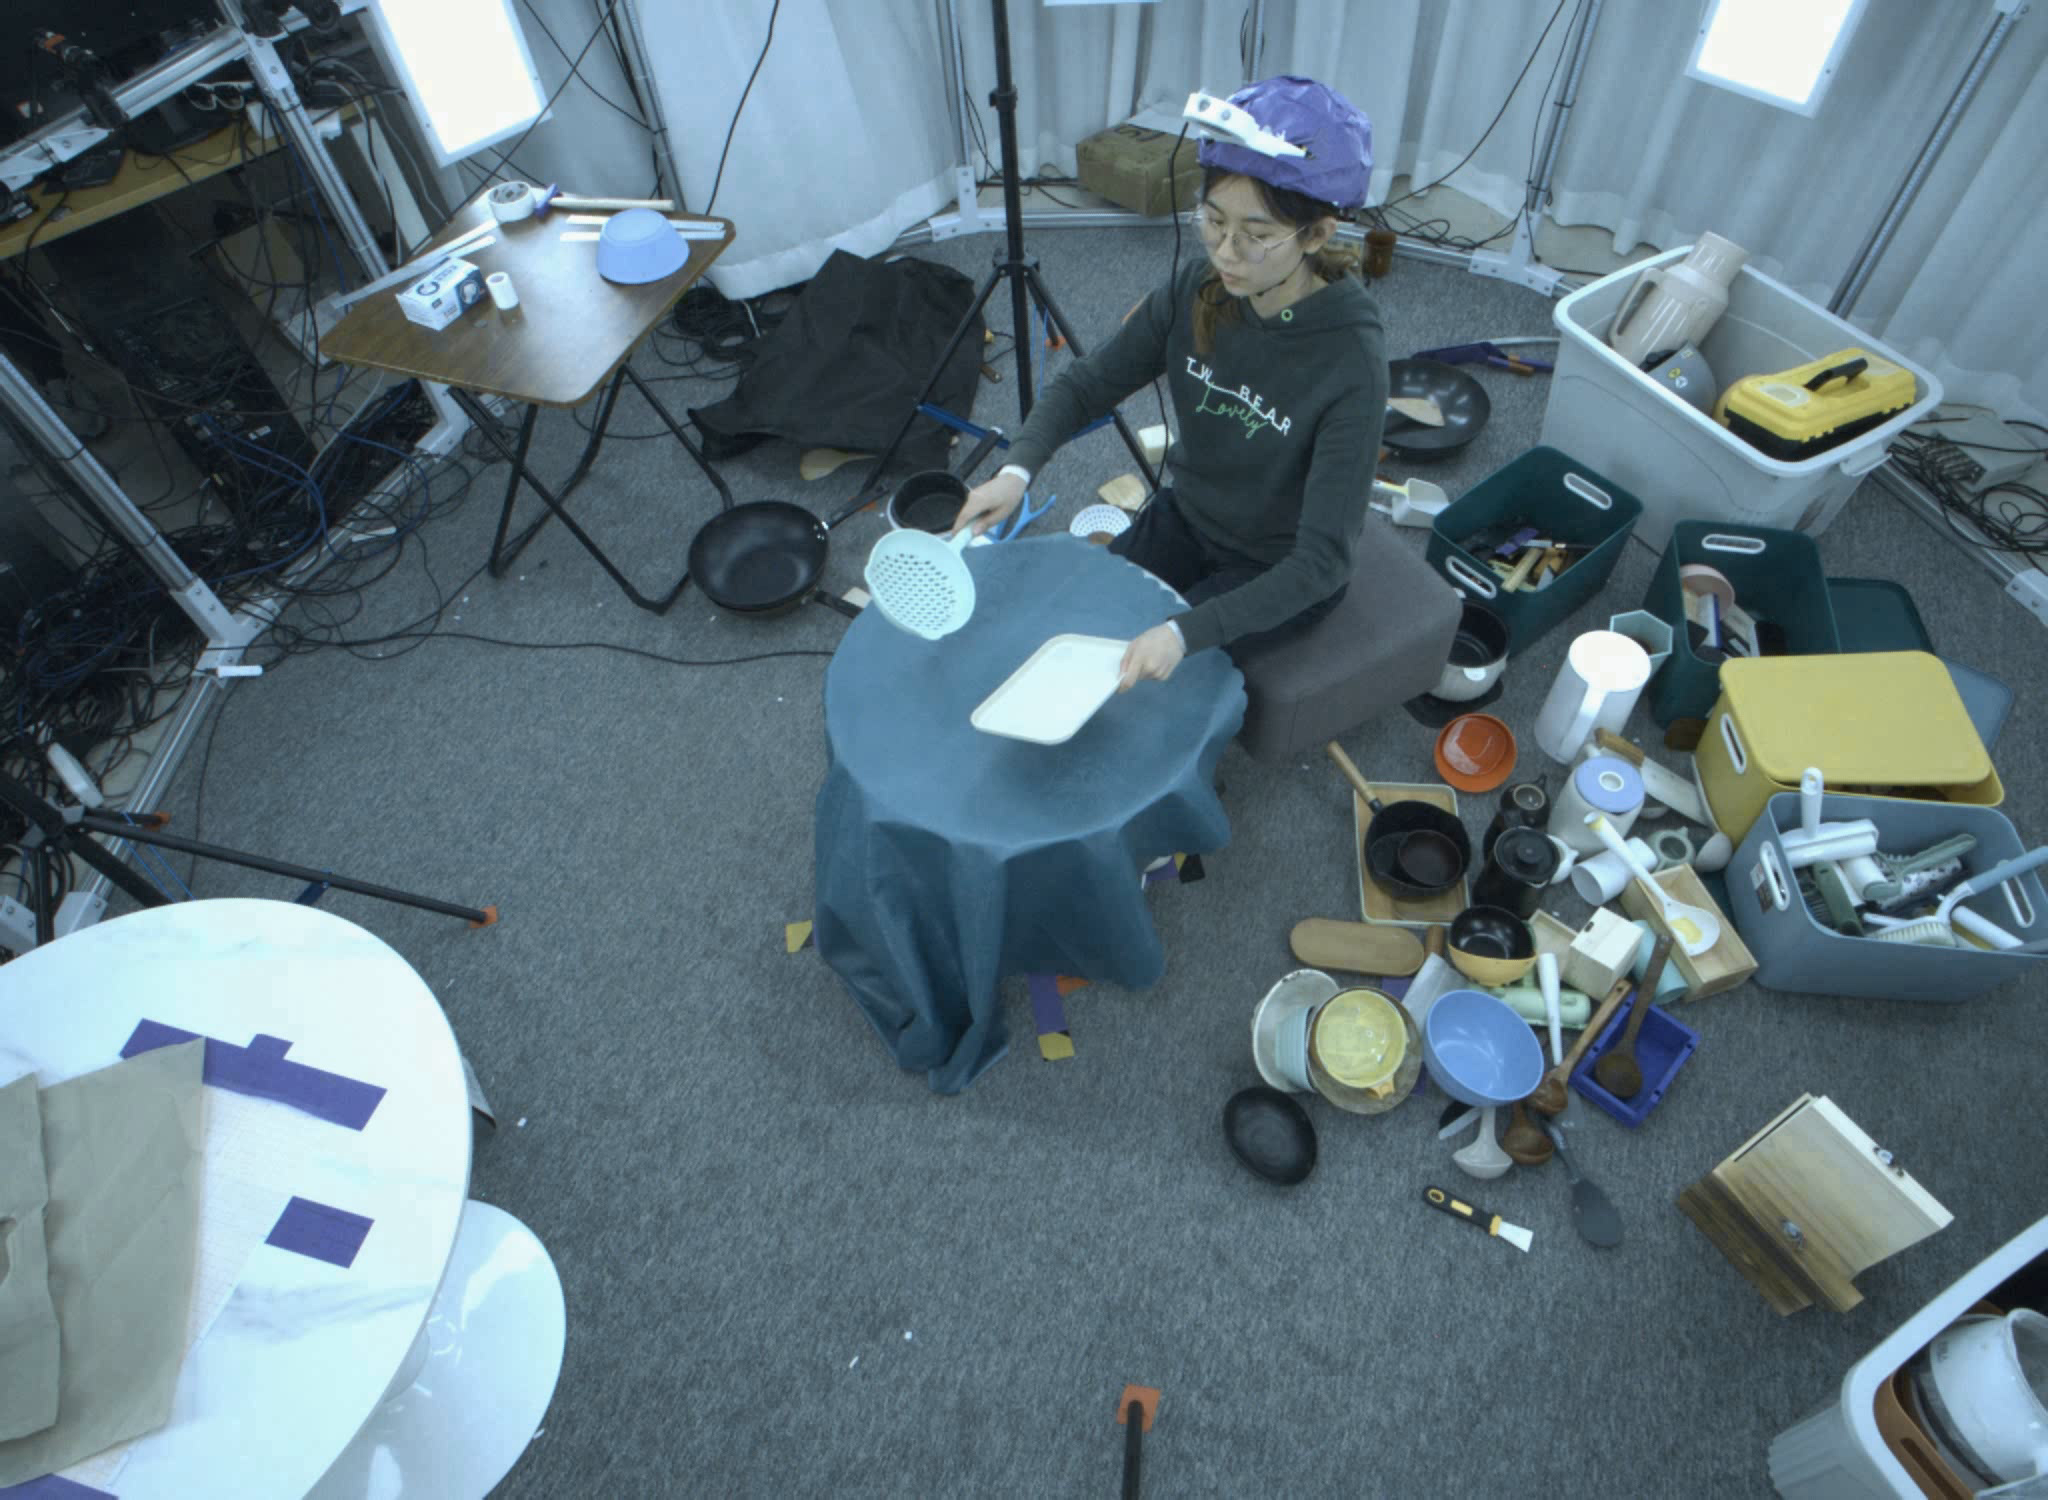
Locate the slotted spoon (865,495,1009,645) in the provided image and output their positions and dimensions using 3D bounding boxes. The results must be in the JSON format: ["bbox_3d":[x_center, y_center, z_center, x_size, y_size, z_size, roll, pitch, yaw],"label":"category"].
[{"bbox_3d":[-0.107,-0.290,1.814,0.171,0.074,0.360,44,57,-11],"label":"slotted spoon"}]

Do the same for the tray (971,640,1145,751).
[{"bbox_3d":[0.050,-0.078,1.718,0.167,0.018,0.241,13,43,35],"label":"tray"}]
